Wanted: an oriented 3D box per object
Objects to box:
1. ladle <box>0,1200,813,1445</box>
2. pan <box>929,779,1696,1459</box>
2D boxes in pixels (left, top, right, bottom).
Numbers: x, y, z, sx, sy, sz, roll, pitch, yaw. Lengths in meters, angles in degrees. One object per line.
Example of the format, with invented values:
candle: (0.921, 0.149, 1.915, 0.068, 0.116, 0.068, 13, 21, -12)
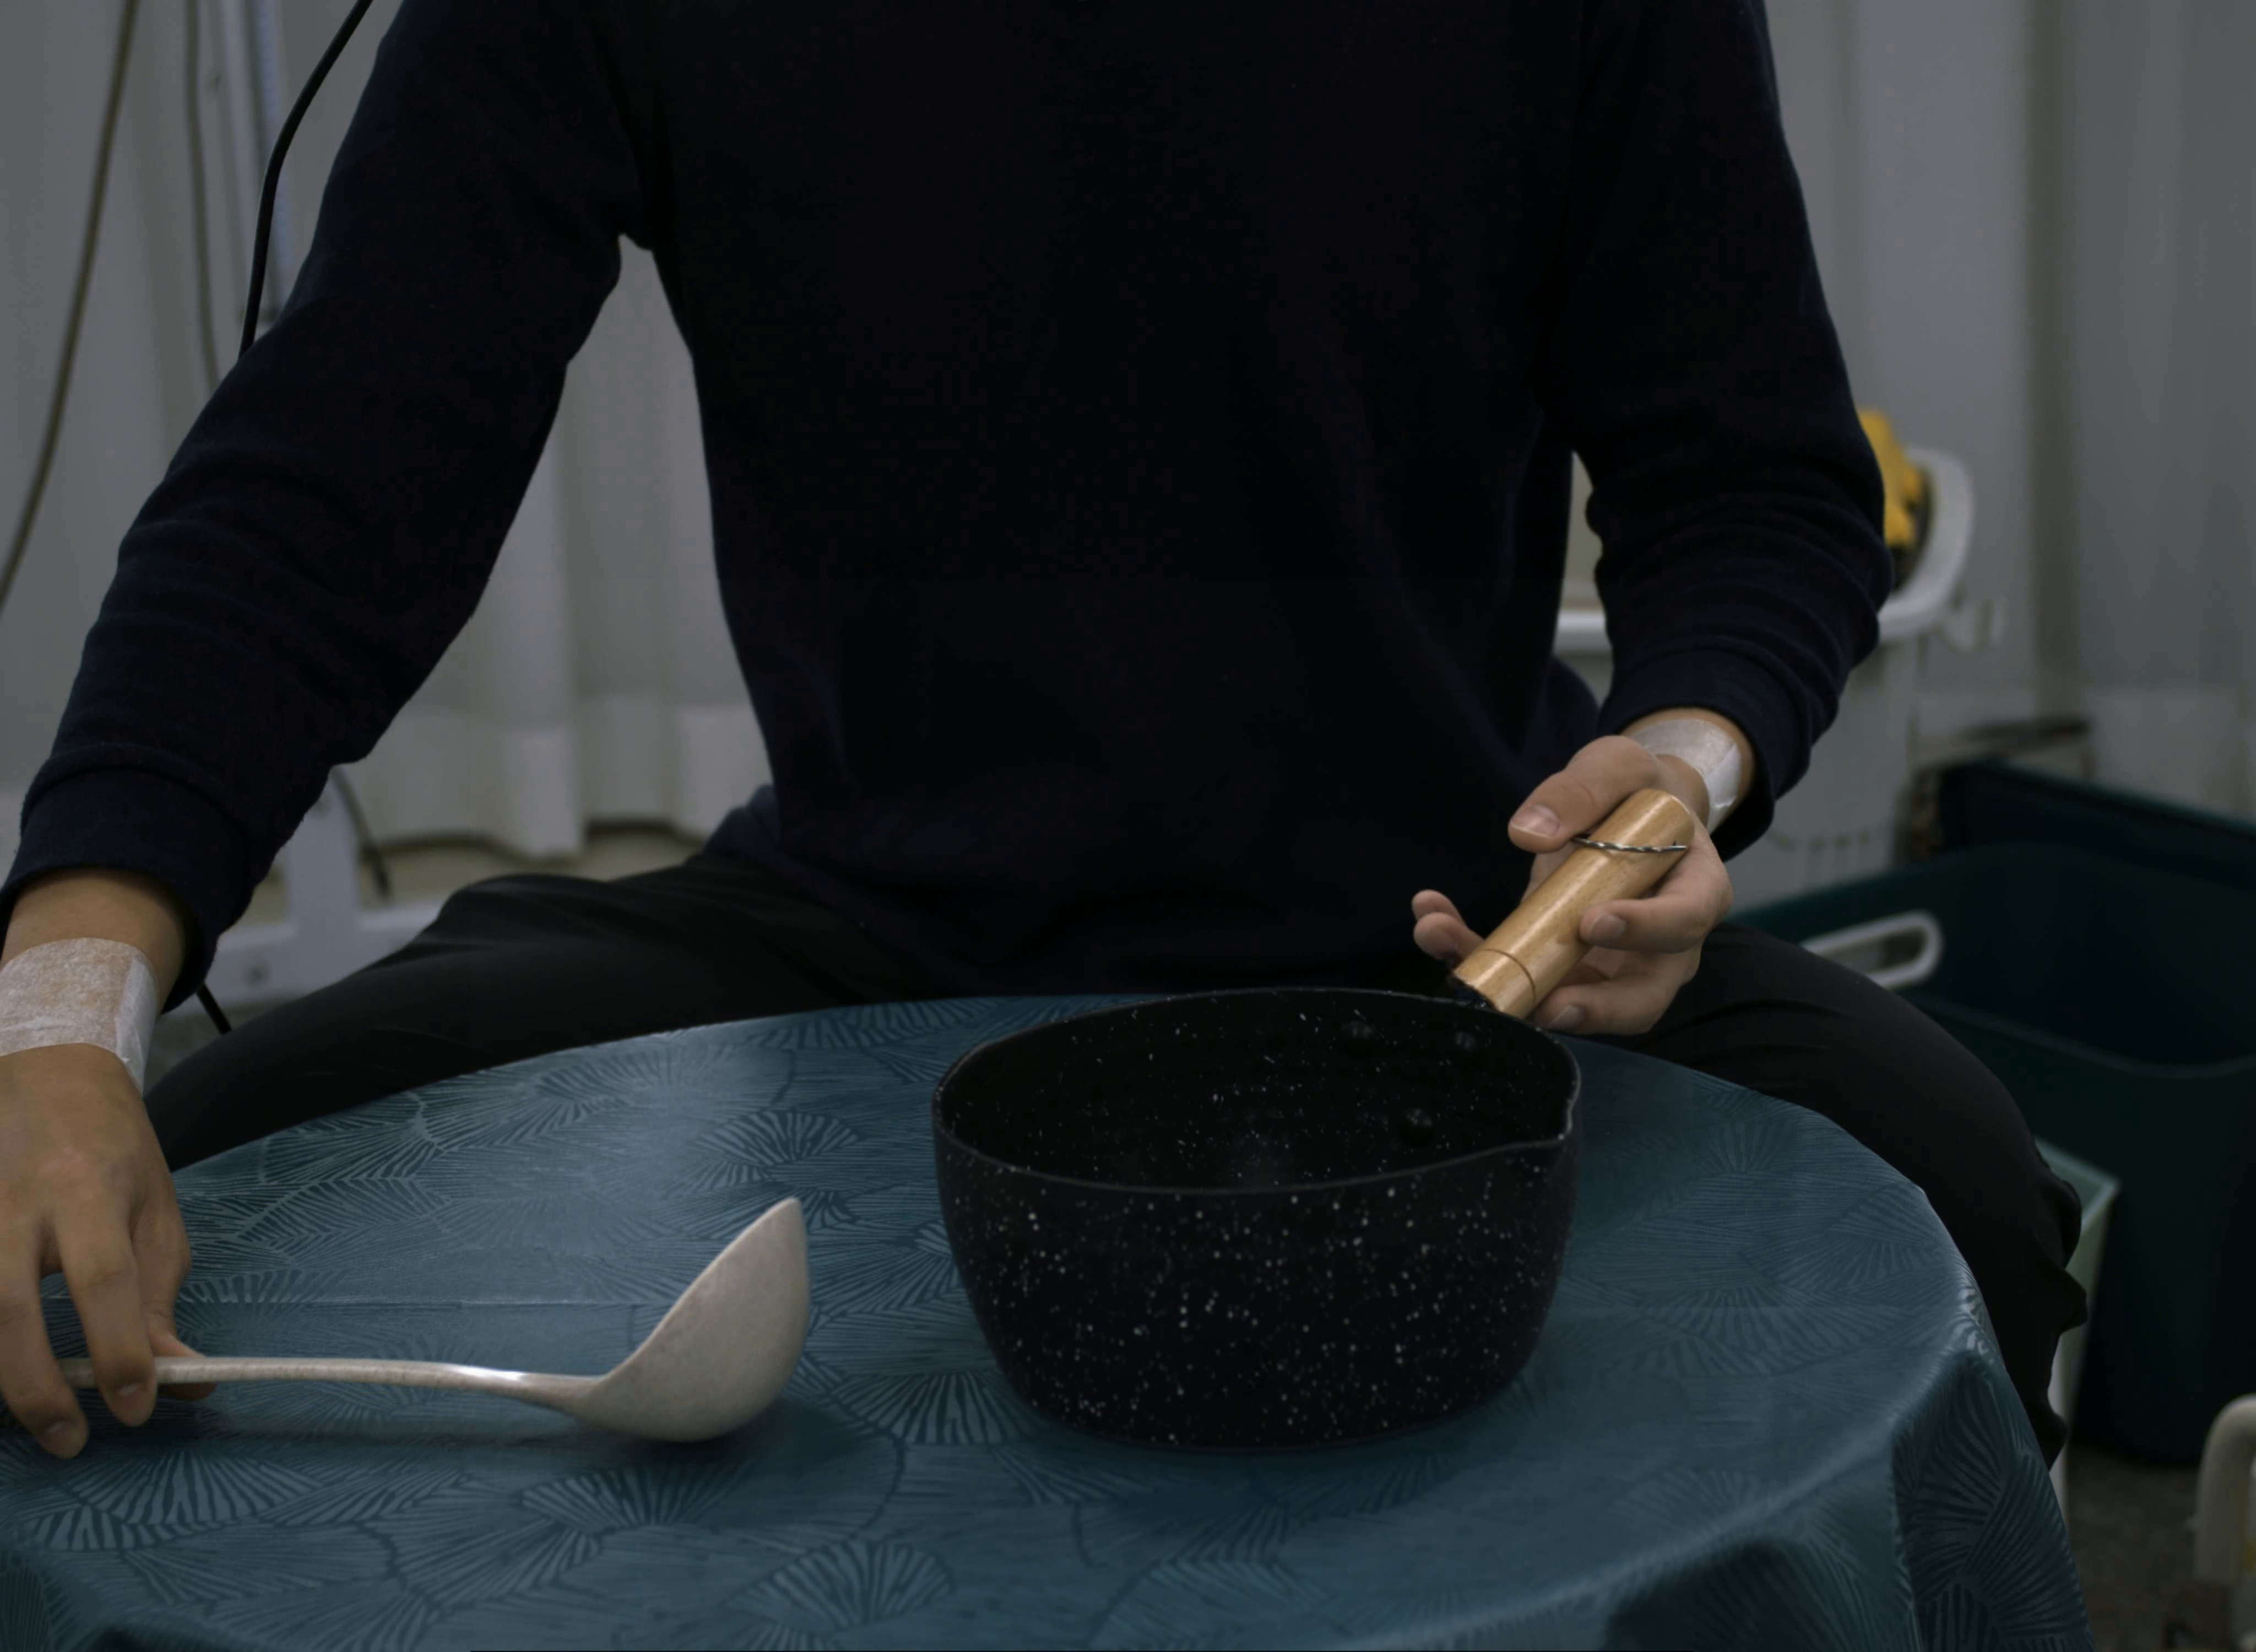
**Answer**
ladle: (-0.223, 0.136, 1.543, 0.274, 0.069, 0.089, 1, 4, 12)
pan: (0.080, 0.081, 1.615, 0.208, 0.108, 0.343, 5, 19, 32)
